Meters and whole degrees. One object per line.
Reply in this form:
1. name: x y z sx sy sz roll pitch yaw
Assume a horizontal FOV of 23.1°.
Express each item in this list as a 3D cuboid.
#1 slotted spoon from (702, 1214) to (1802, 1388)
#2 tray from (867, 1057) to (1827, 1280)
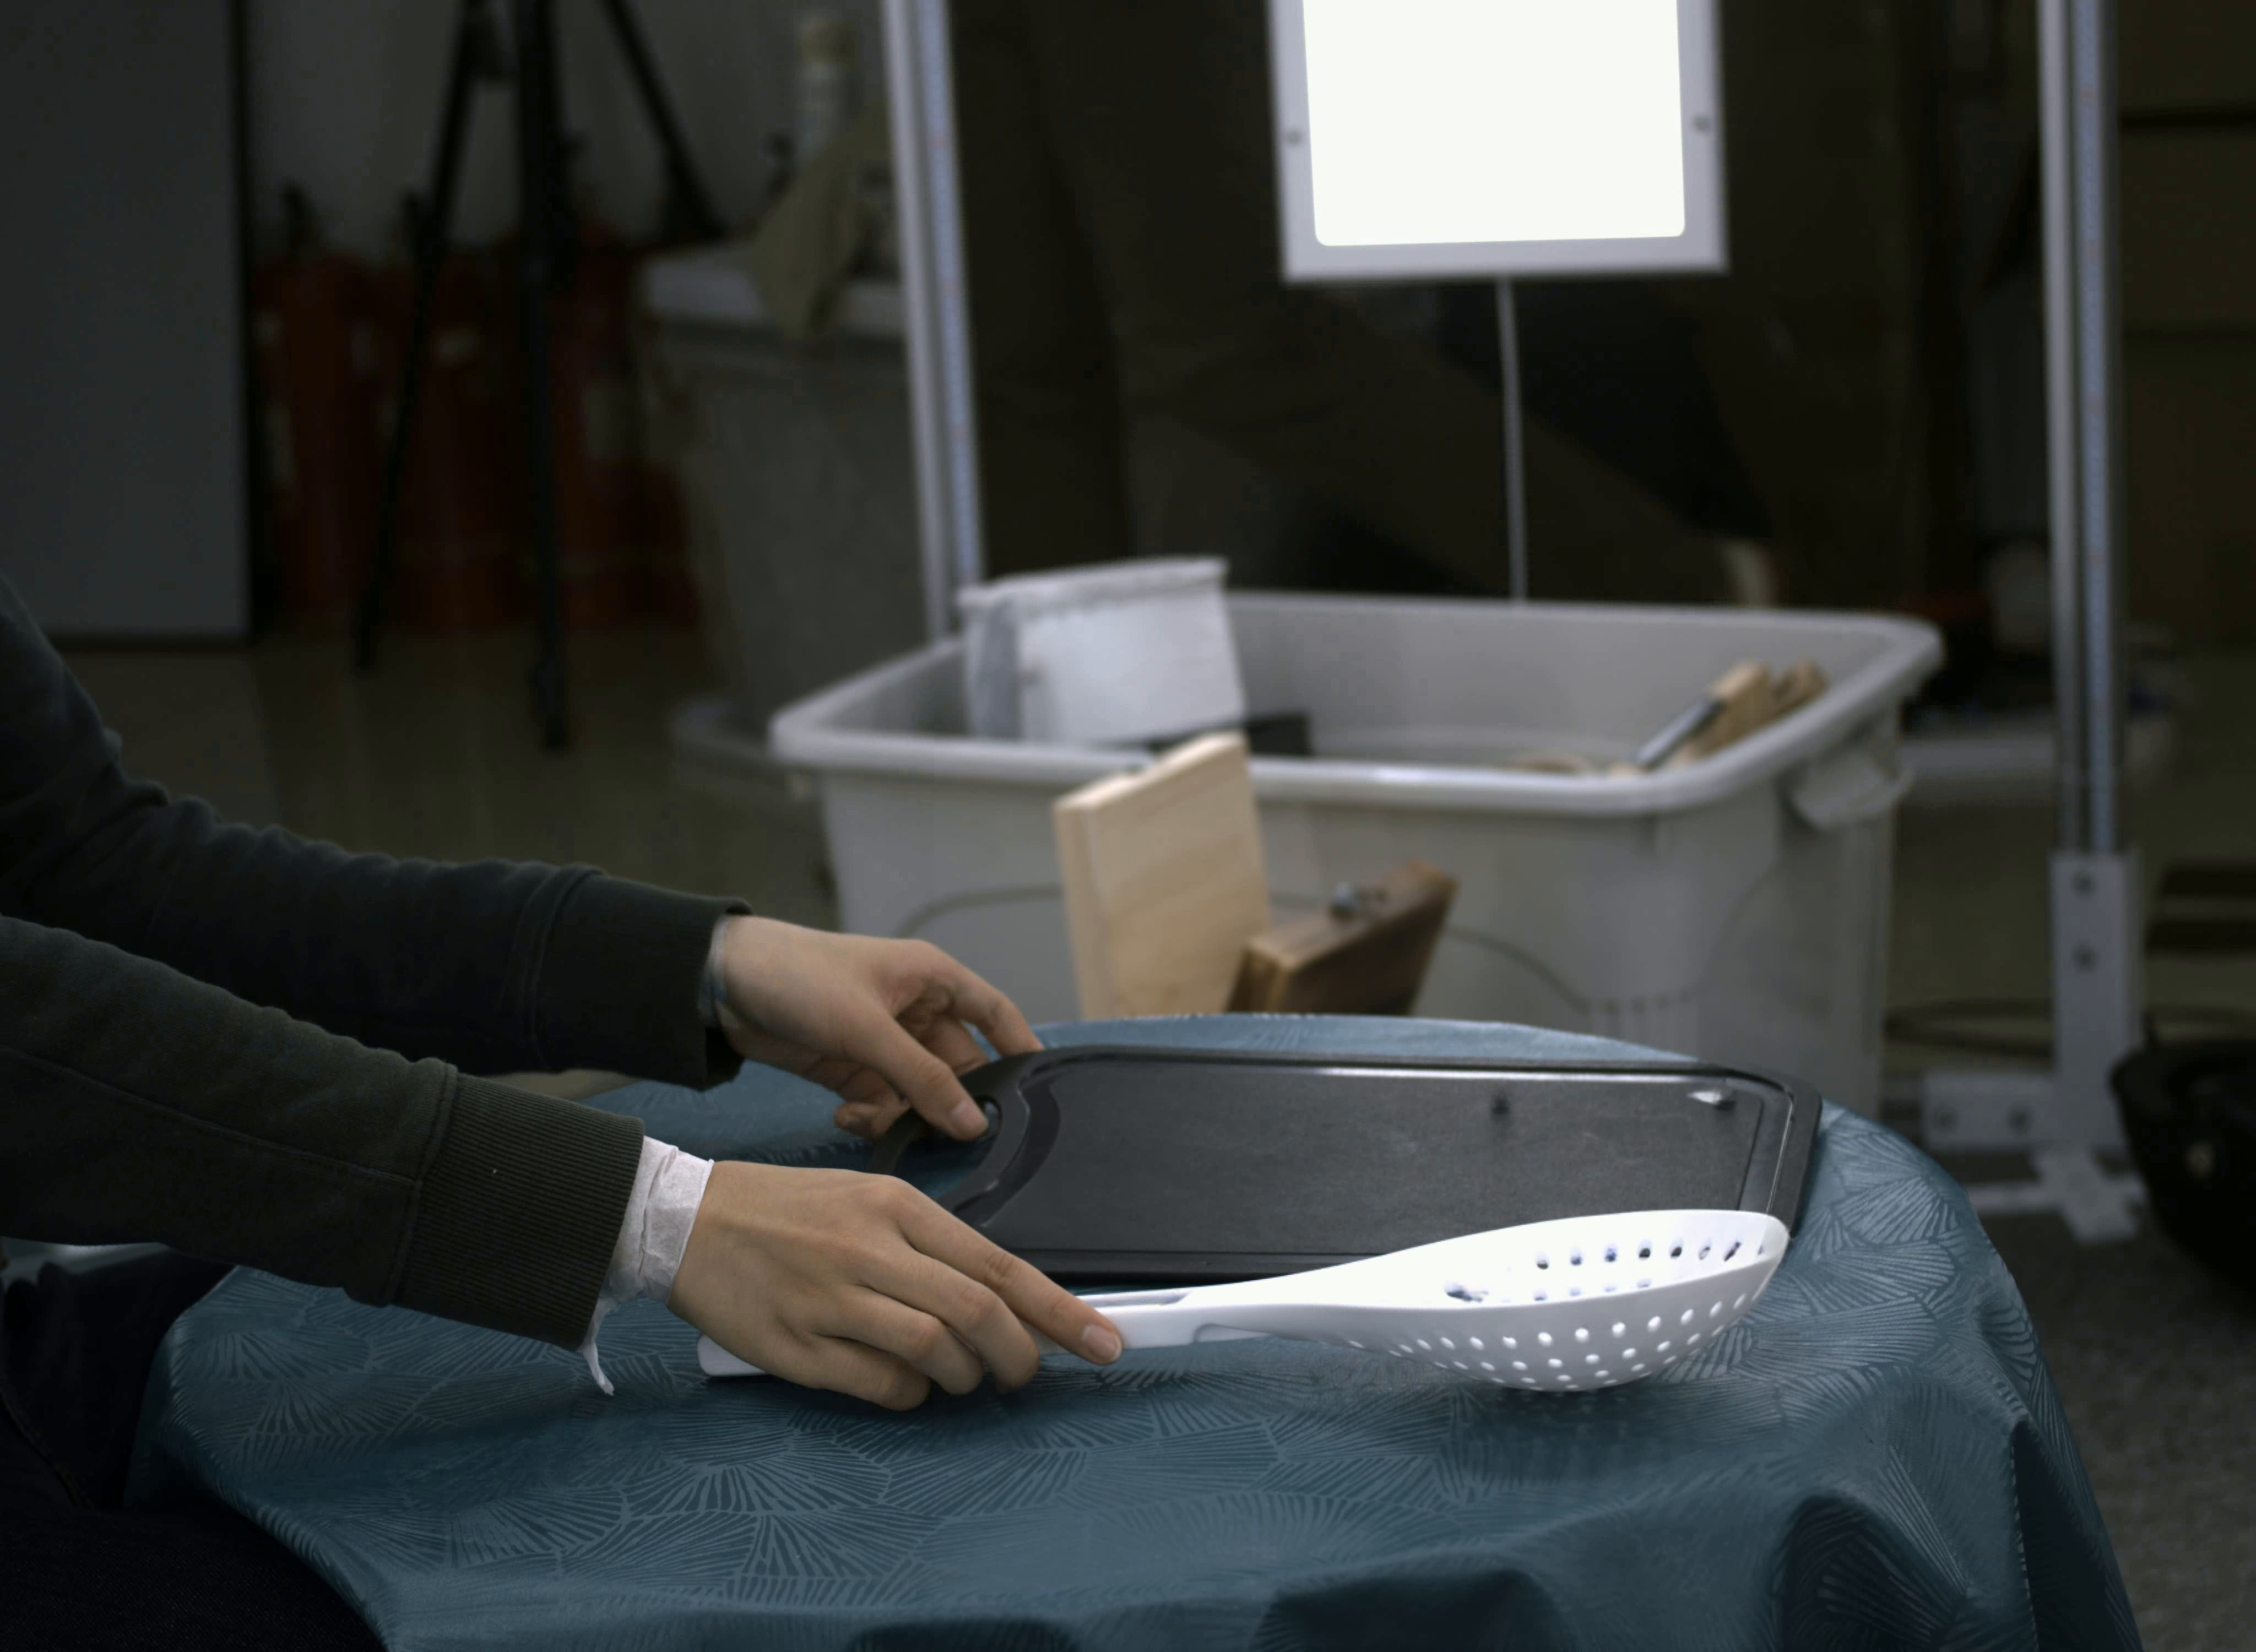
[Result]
1. slotted spoon: 0.035 0.148 1.698 0.353 0.046 0.134 -1 5 17
2. tray: 0.073 0.114 1.881 0.328 0.010 0.208 0 17 14
